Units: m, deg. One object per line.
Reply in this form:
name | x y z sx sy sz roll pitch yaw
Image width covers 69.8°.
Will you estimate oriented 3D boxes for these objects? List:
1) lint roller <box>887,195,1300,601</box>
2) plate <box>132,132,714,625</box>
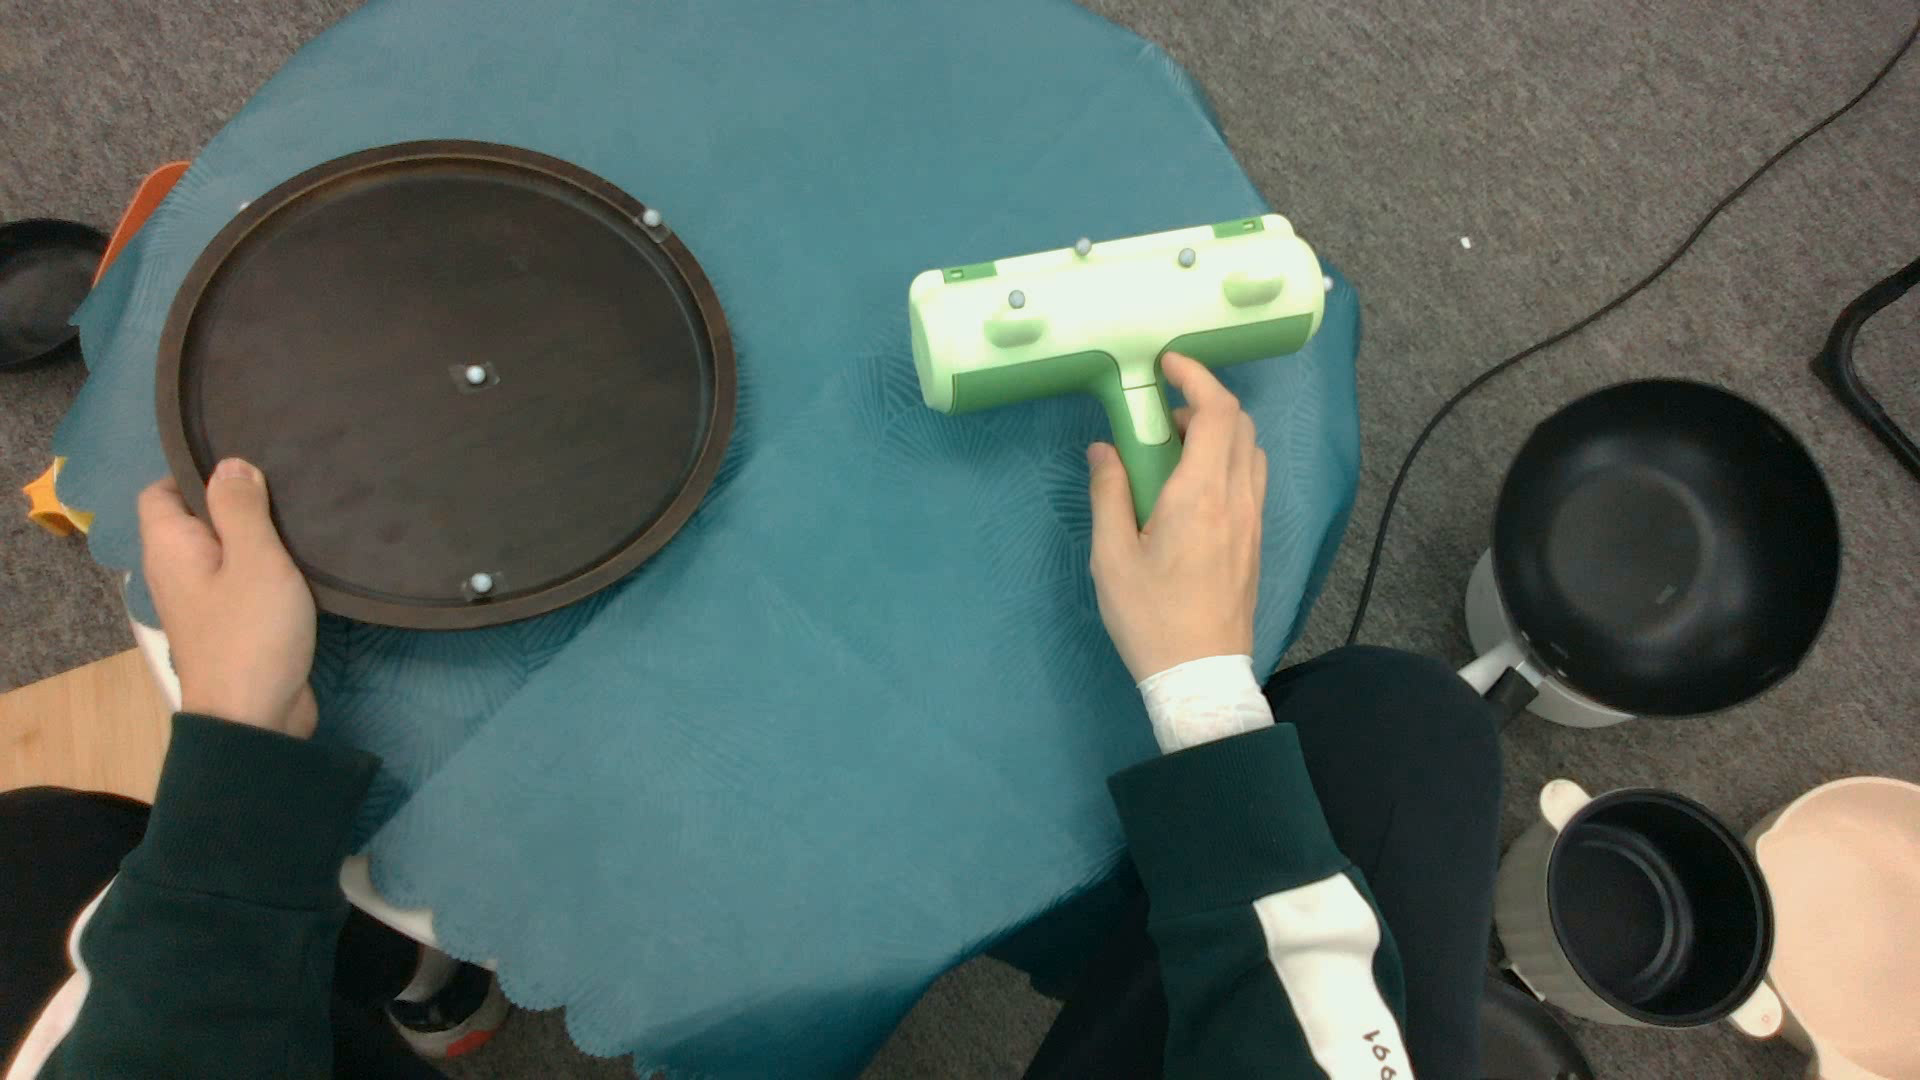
lint roller | 0.080 -0.067 0.636 0.199 0.082 0.183 -12 74 -13
plate | -0.243 -0.080 0.643 0.255 0.029 0.255 5 67 -12
